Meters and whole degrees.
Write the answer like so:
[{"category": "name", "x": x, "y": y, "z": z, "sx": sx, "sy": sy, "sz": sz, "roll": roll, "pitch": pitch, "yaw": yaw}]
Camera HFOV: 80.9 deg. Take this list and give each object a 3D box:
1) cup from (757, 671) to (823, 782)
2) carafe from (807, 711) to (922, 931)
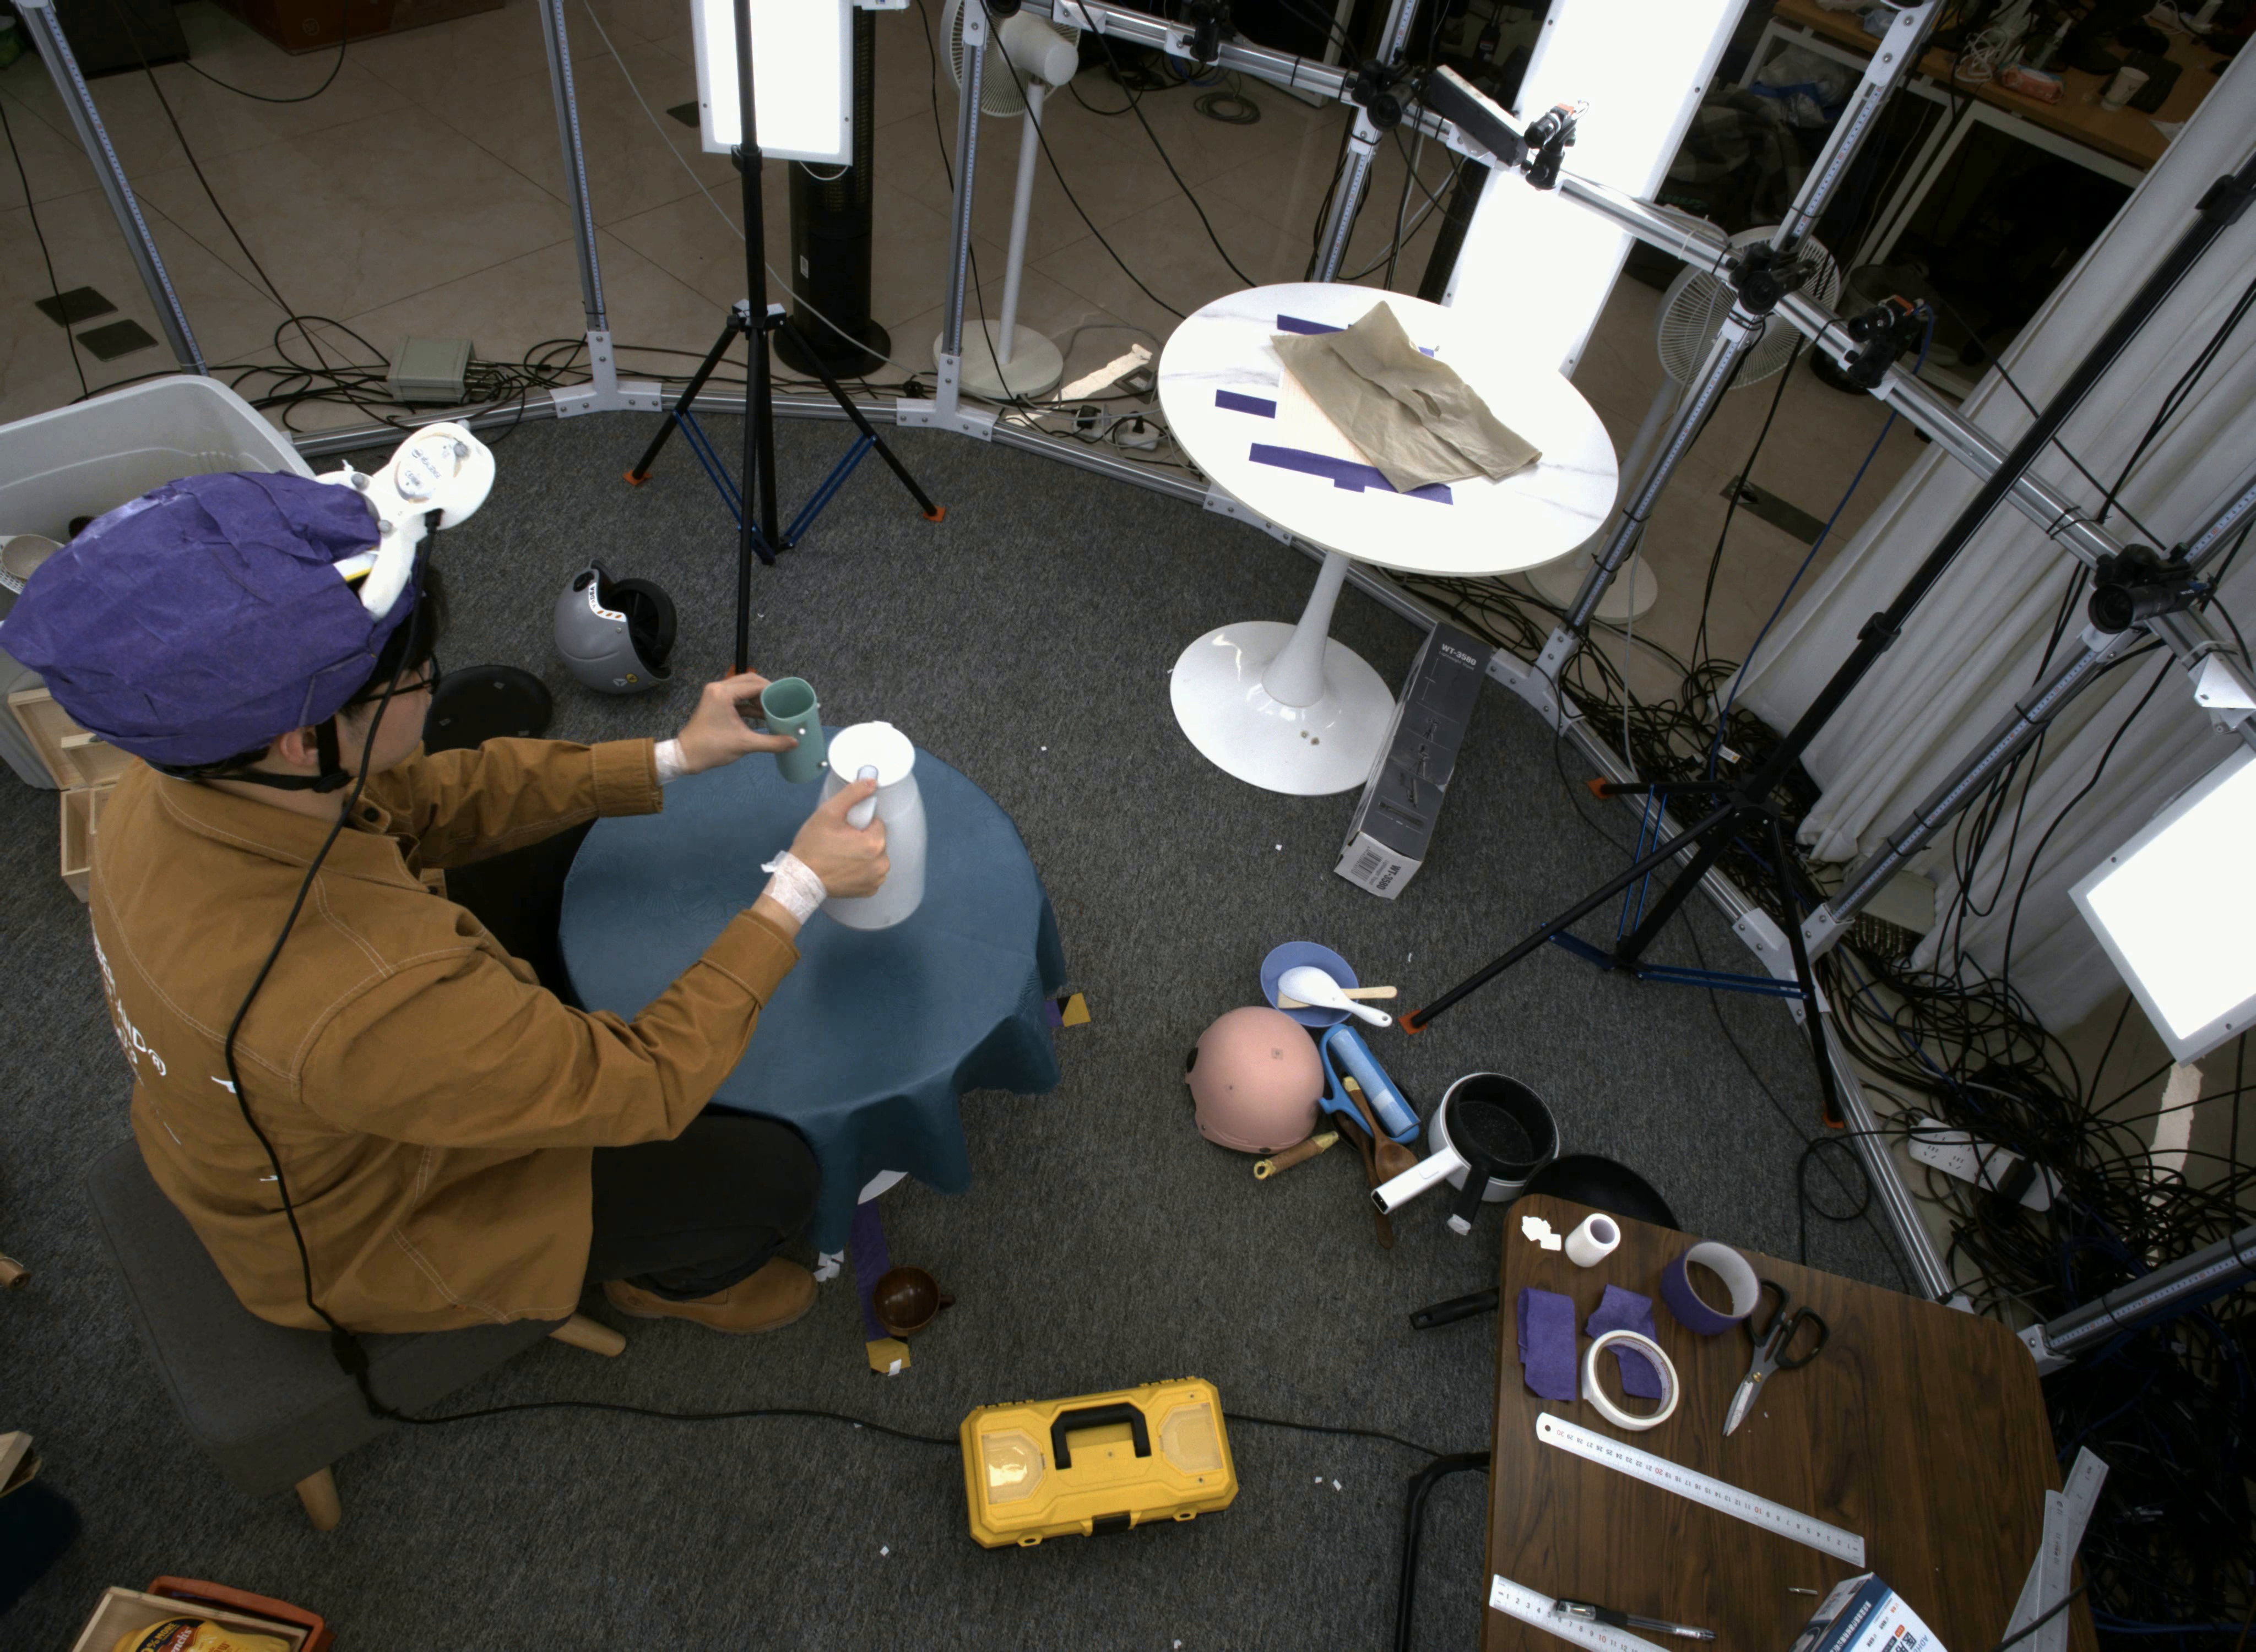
[{"category": "cup", "x": -0.415, "y": -0.120, "z": 1.588, "sx": 0.066, "sy": 0.135, "sz": 0.065, "roll": 3, "pitch": 54, "yaw": -3}, {"category": "carafe", "x": -0.295, "y": 0.004, "z": 1.446, "sx": 0.132, "sy": 0.254, "sz": 0.164, "roll": 6, "pitch": 50, "yaw": -7}]
